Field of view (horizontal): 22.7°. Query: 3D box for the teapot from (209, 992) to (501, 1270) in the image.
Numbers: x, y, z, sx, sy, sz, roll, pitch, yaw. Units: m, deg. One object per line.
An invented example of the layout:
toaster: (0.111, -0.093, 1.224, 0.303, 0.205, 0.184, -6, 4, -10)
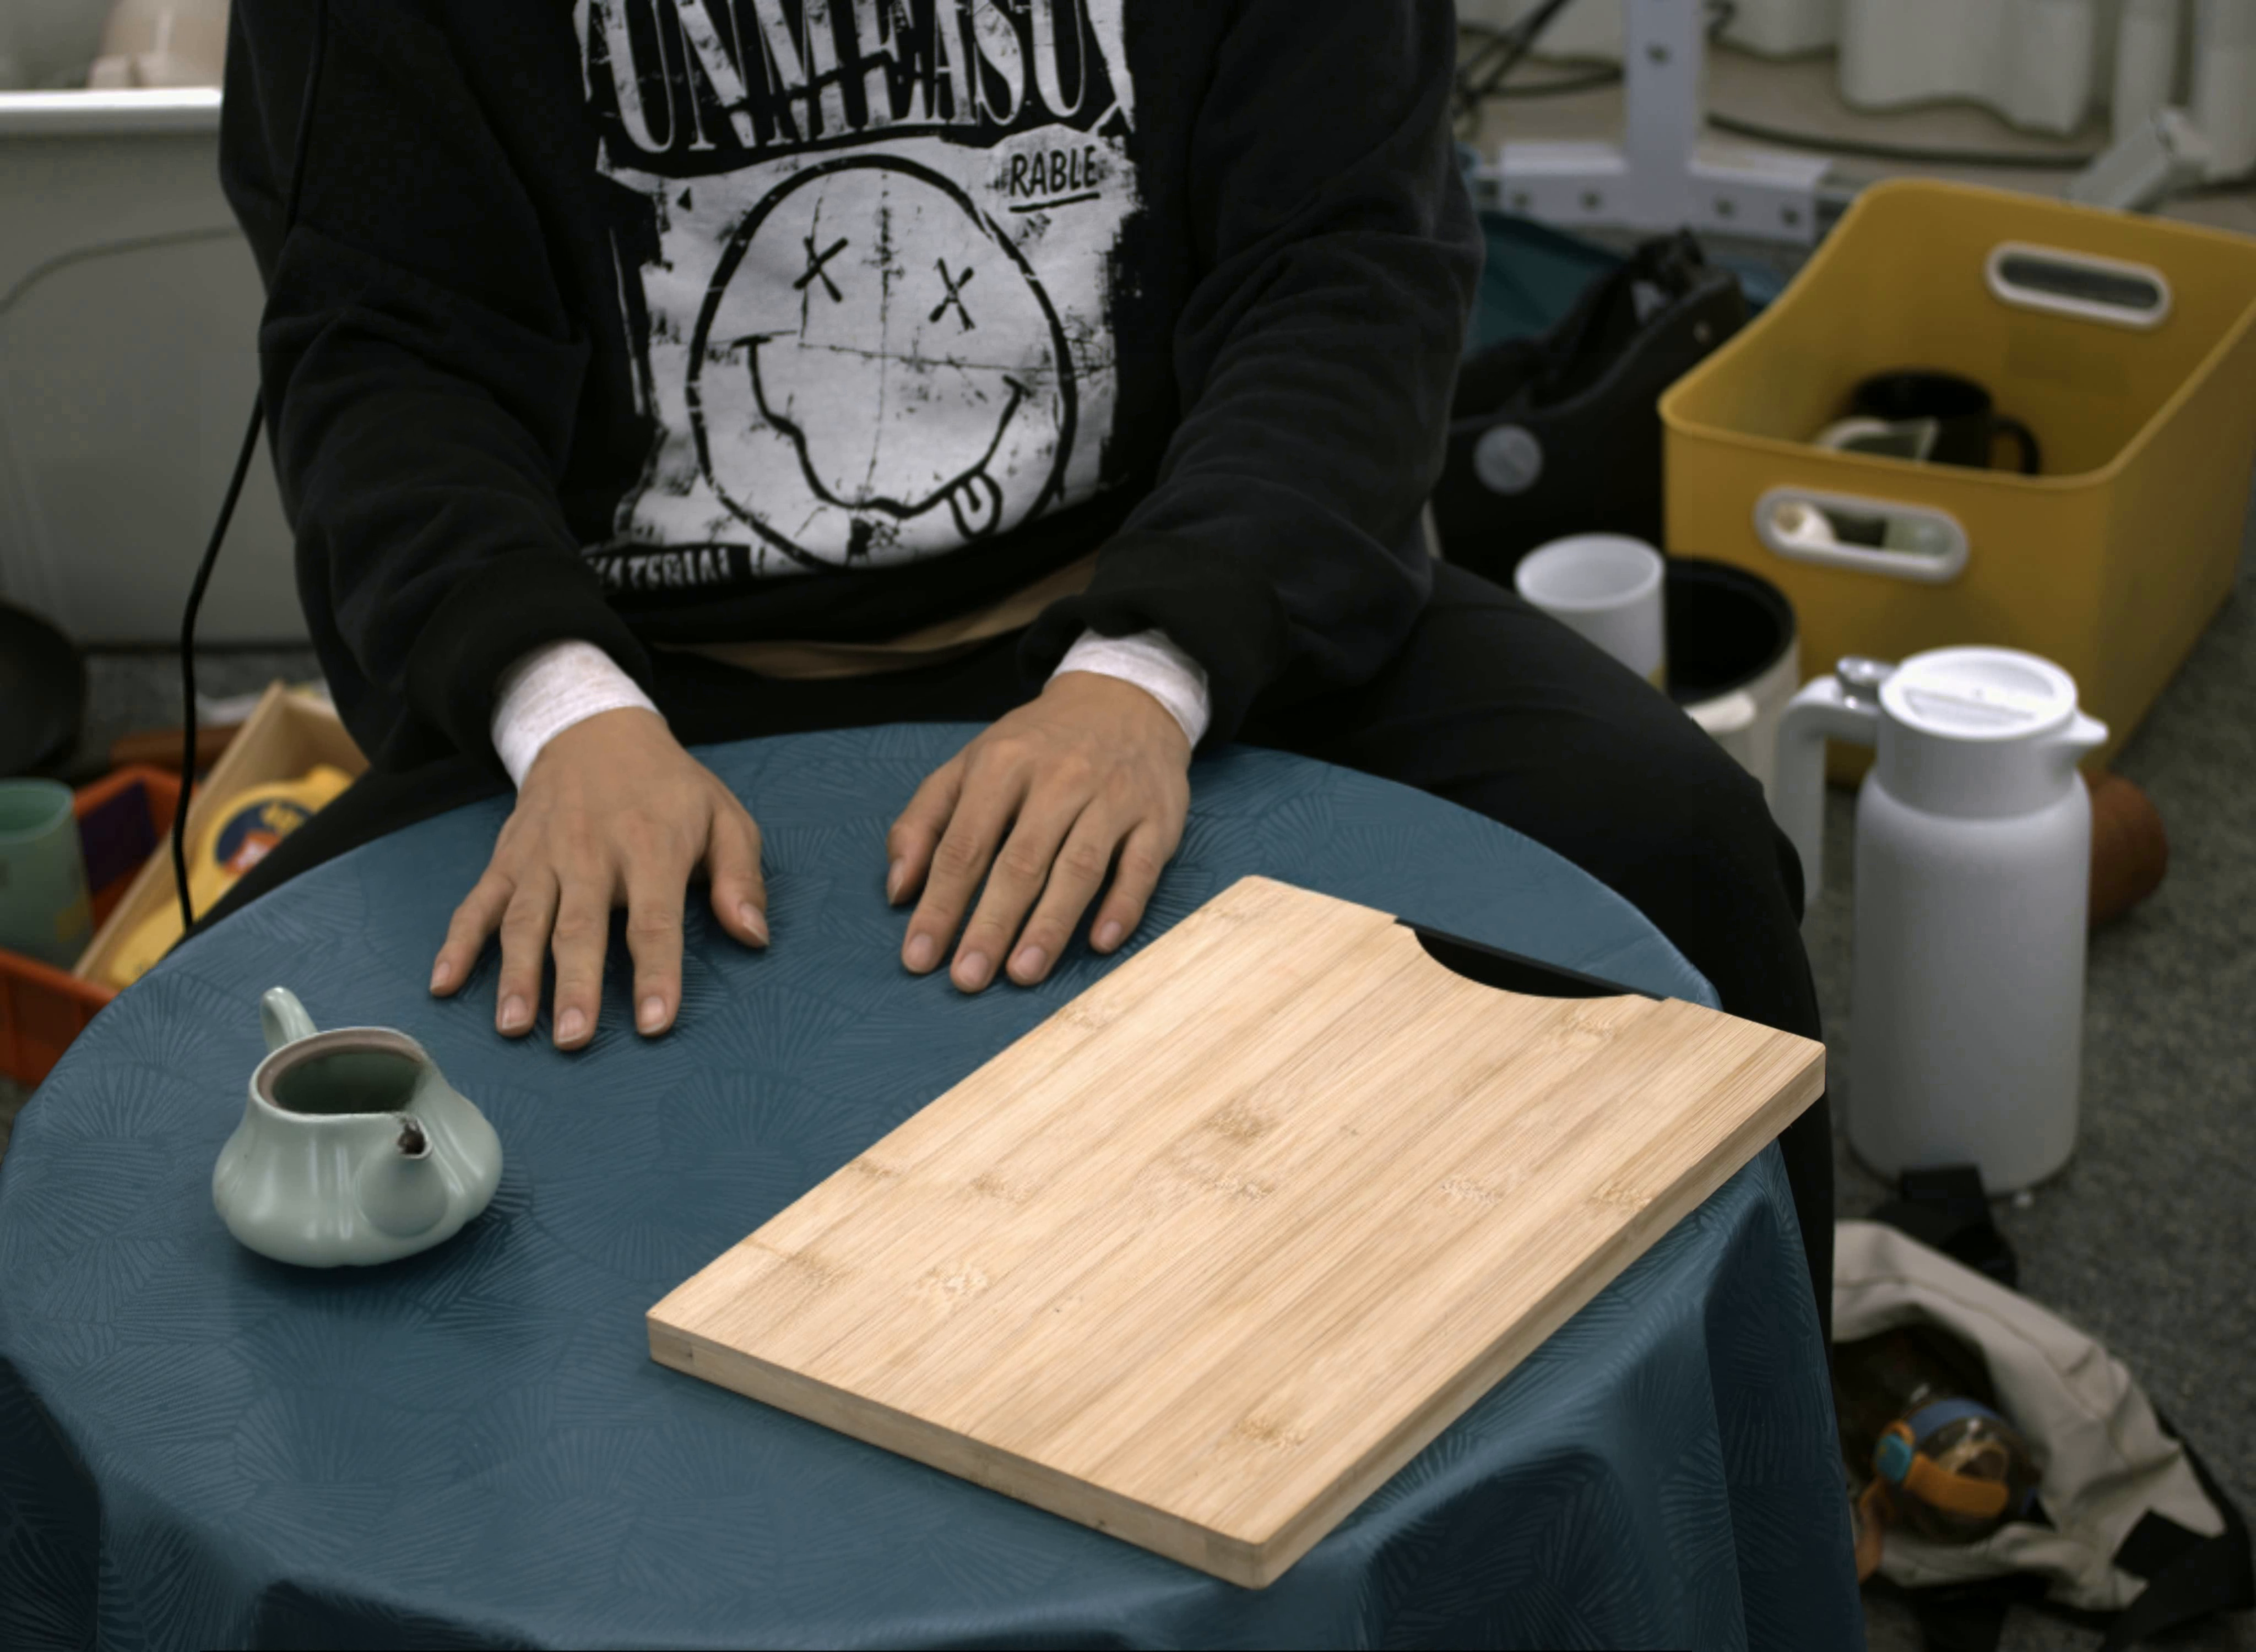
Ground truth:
teapot: (-0.259, 0.103, 1.855, 0.097, 0.061, 0.137, -20, 32, -27)

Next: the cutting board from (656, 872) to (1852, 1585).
cutting board: (0.045, 0.121, 1.839, 0.249, 0.023, 0.354, 15, 32, 31)
